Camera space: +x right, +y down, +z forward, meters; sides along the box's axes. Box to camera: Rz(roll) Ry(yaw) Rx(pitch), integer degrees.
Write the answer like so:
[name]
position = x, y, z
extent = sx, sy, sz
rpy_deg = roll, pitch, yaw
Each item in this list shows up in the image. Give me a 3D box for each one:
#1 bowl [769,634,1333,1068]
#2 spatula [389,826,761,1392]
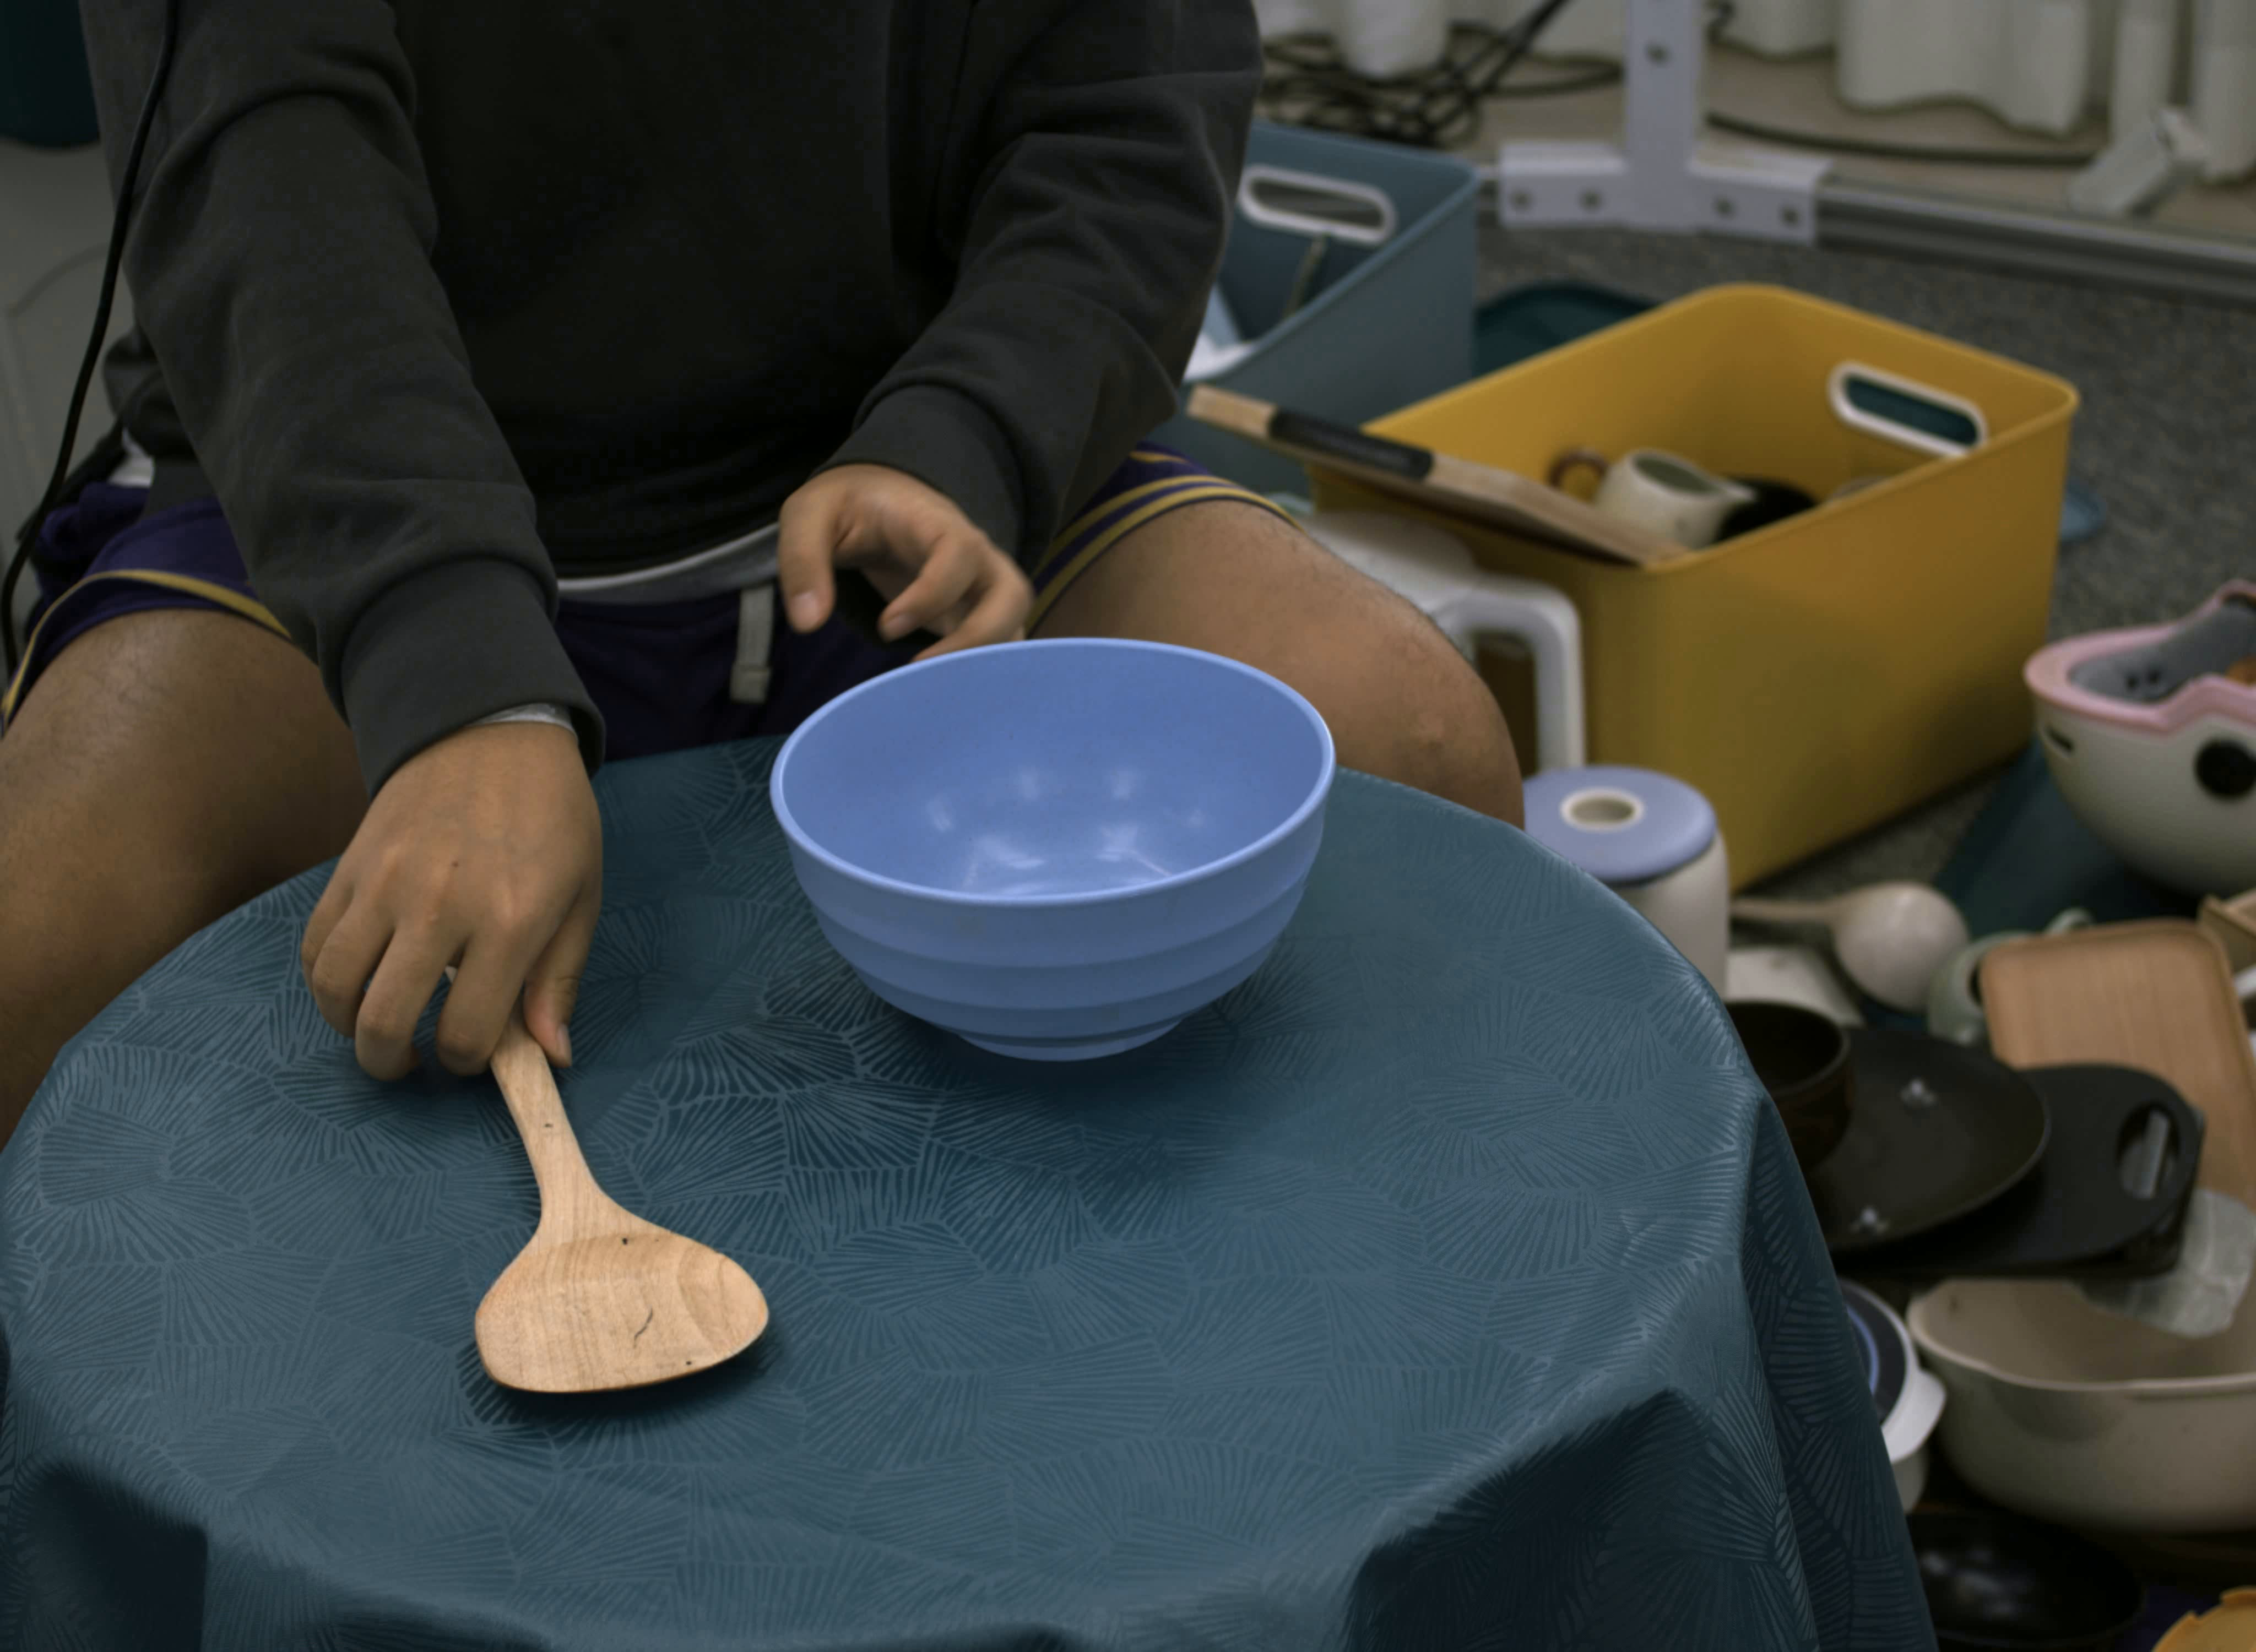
[bowl]
position = -0.024, 0.020, 1.963
extent = 0.195, 0.094, 0.200
rpy_deg = -3, 30, 2
[spatula]
position = -0.211, 0.090, 1.916
extent = 0.096, 0.018, 0.395
rpy_deg = -6, 29, -16
